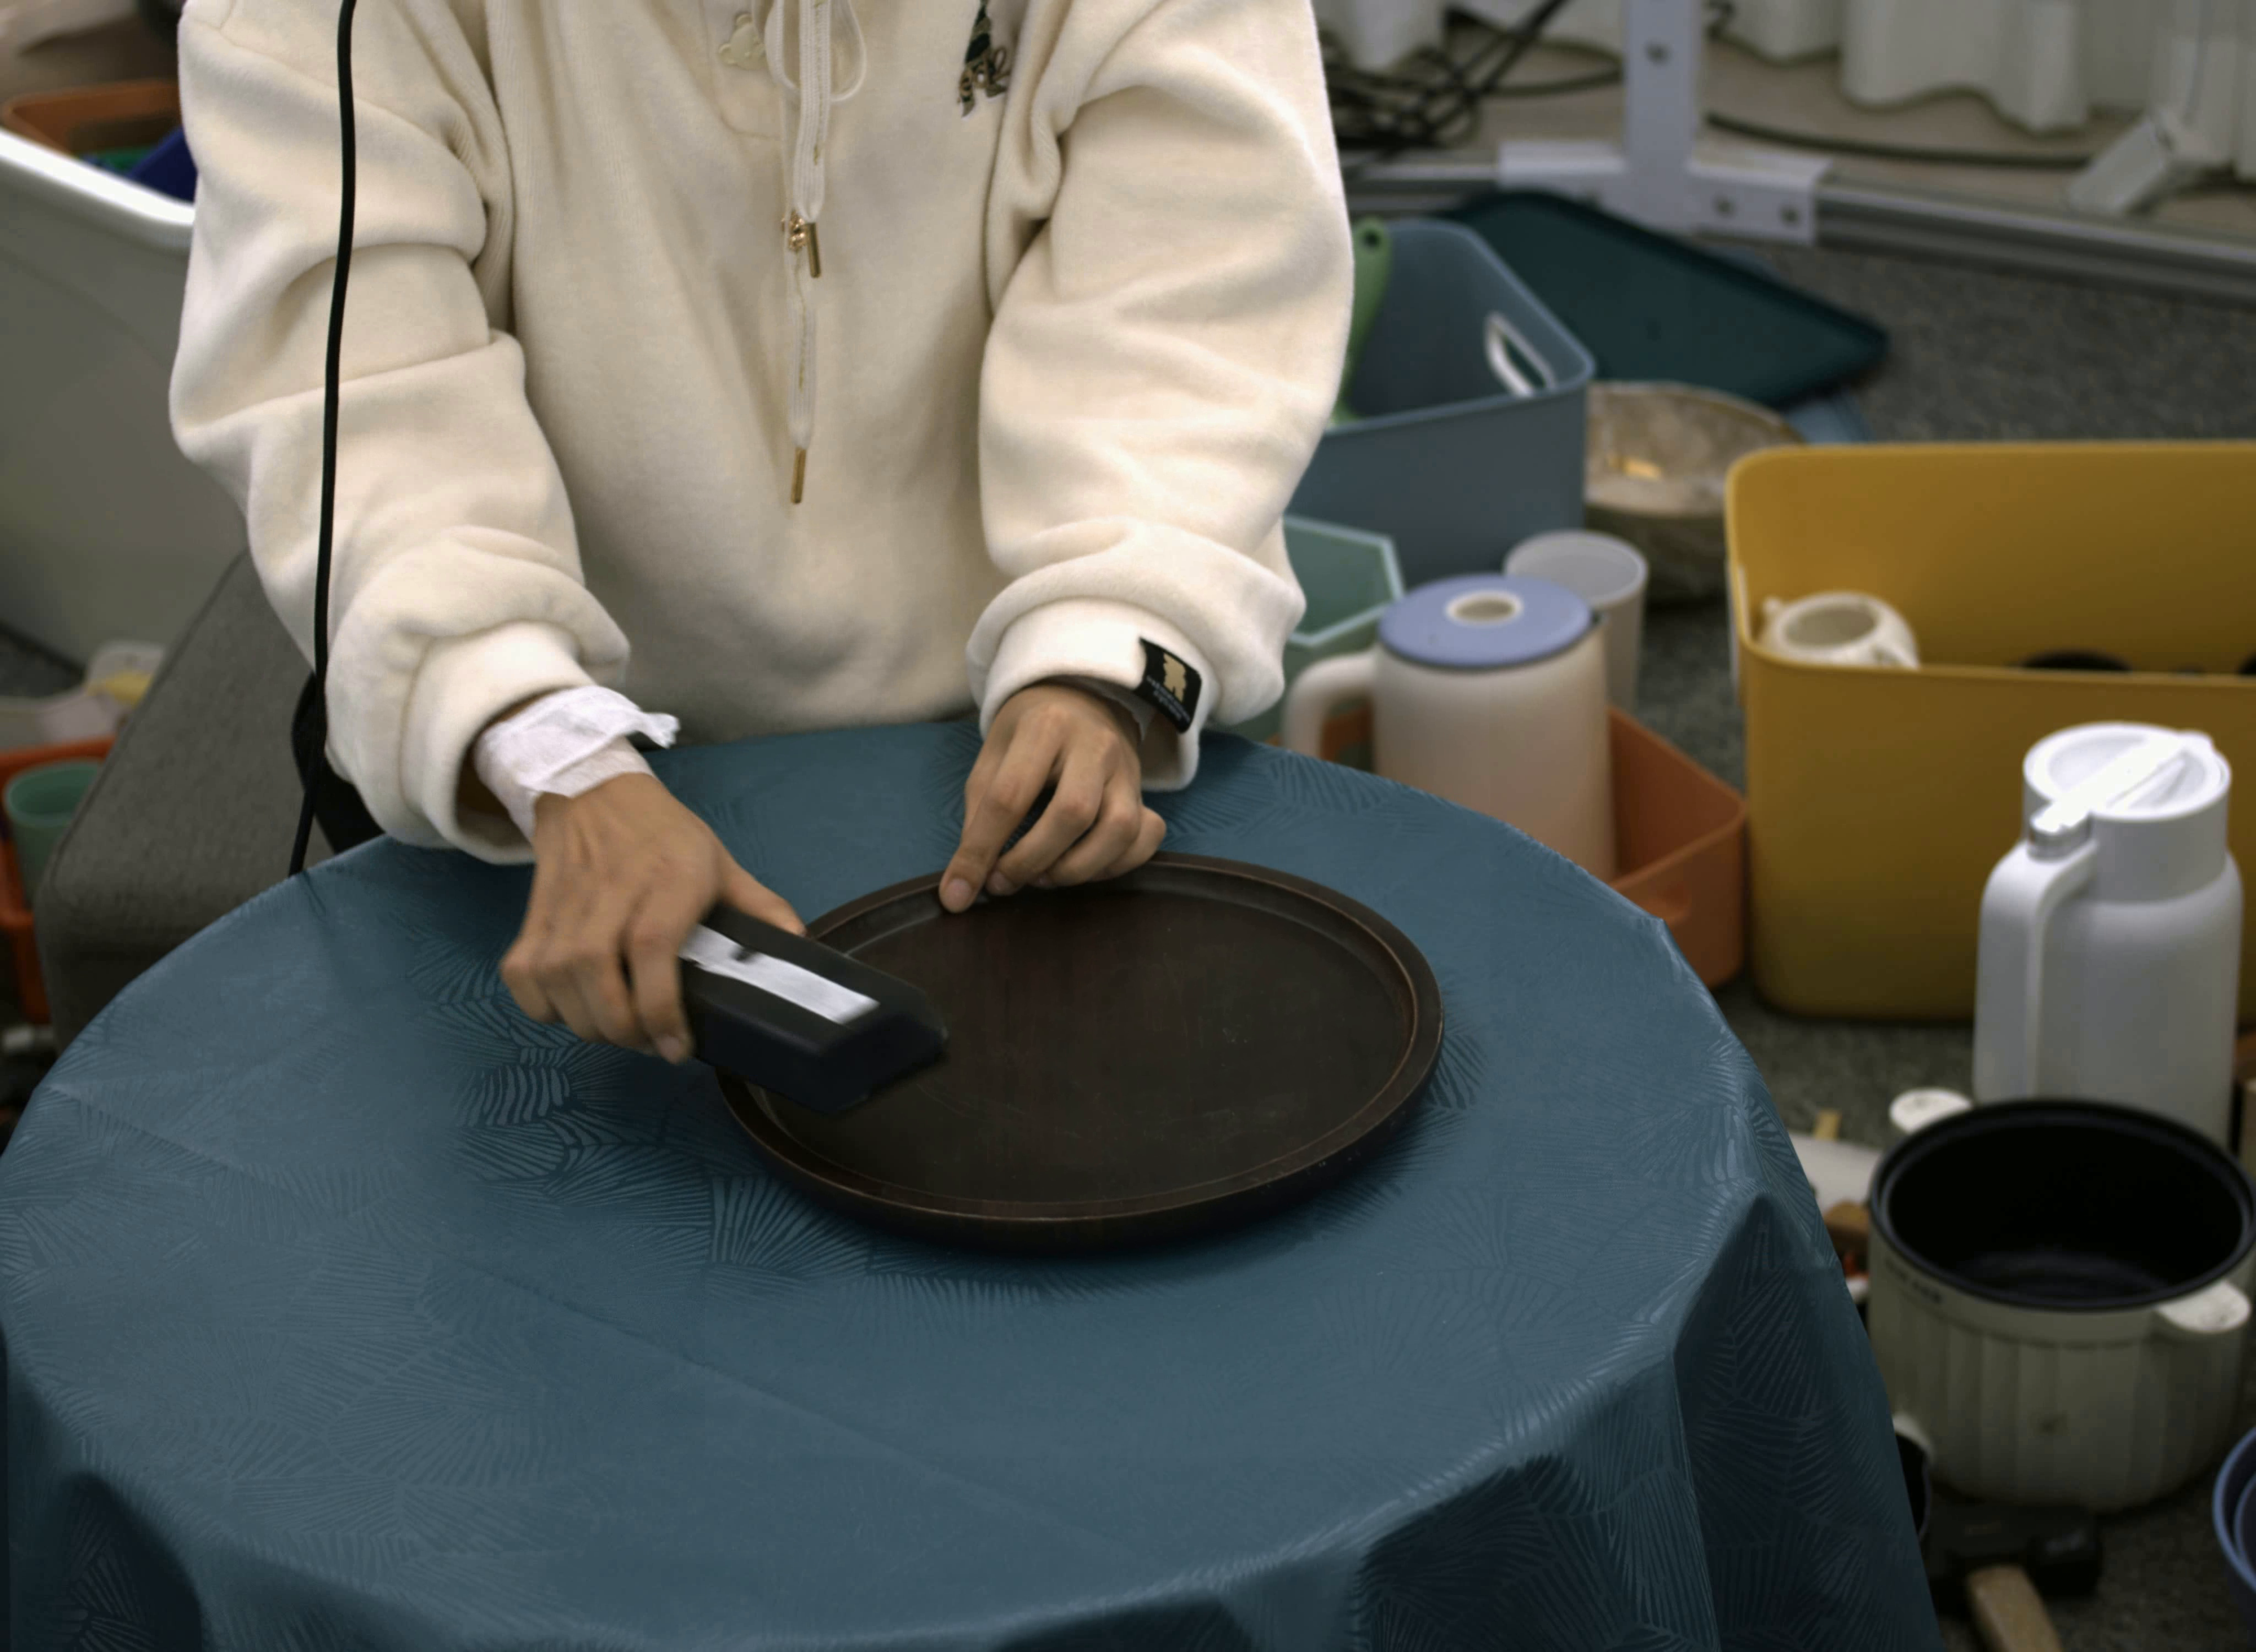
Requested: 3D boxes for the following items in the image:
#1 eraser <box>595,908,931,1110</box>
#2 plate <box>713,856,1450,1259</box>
[{"bbox_3d":[-0.122,0.060,1.884,0.054,0.030,0.125,-26,27,-32],"label":"eraser"},{"bbox_3d":[-0.016,0.077,1.924,0.253,0.029,0.259,-2,29,2],"label":"plate"}]
